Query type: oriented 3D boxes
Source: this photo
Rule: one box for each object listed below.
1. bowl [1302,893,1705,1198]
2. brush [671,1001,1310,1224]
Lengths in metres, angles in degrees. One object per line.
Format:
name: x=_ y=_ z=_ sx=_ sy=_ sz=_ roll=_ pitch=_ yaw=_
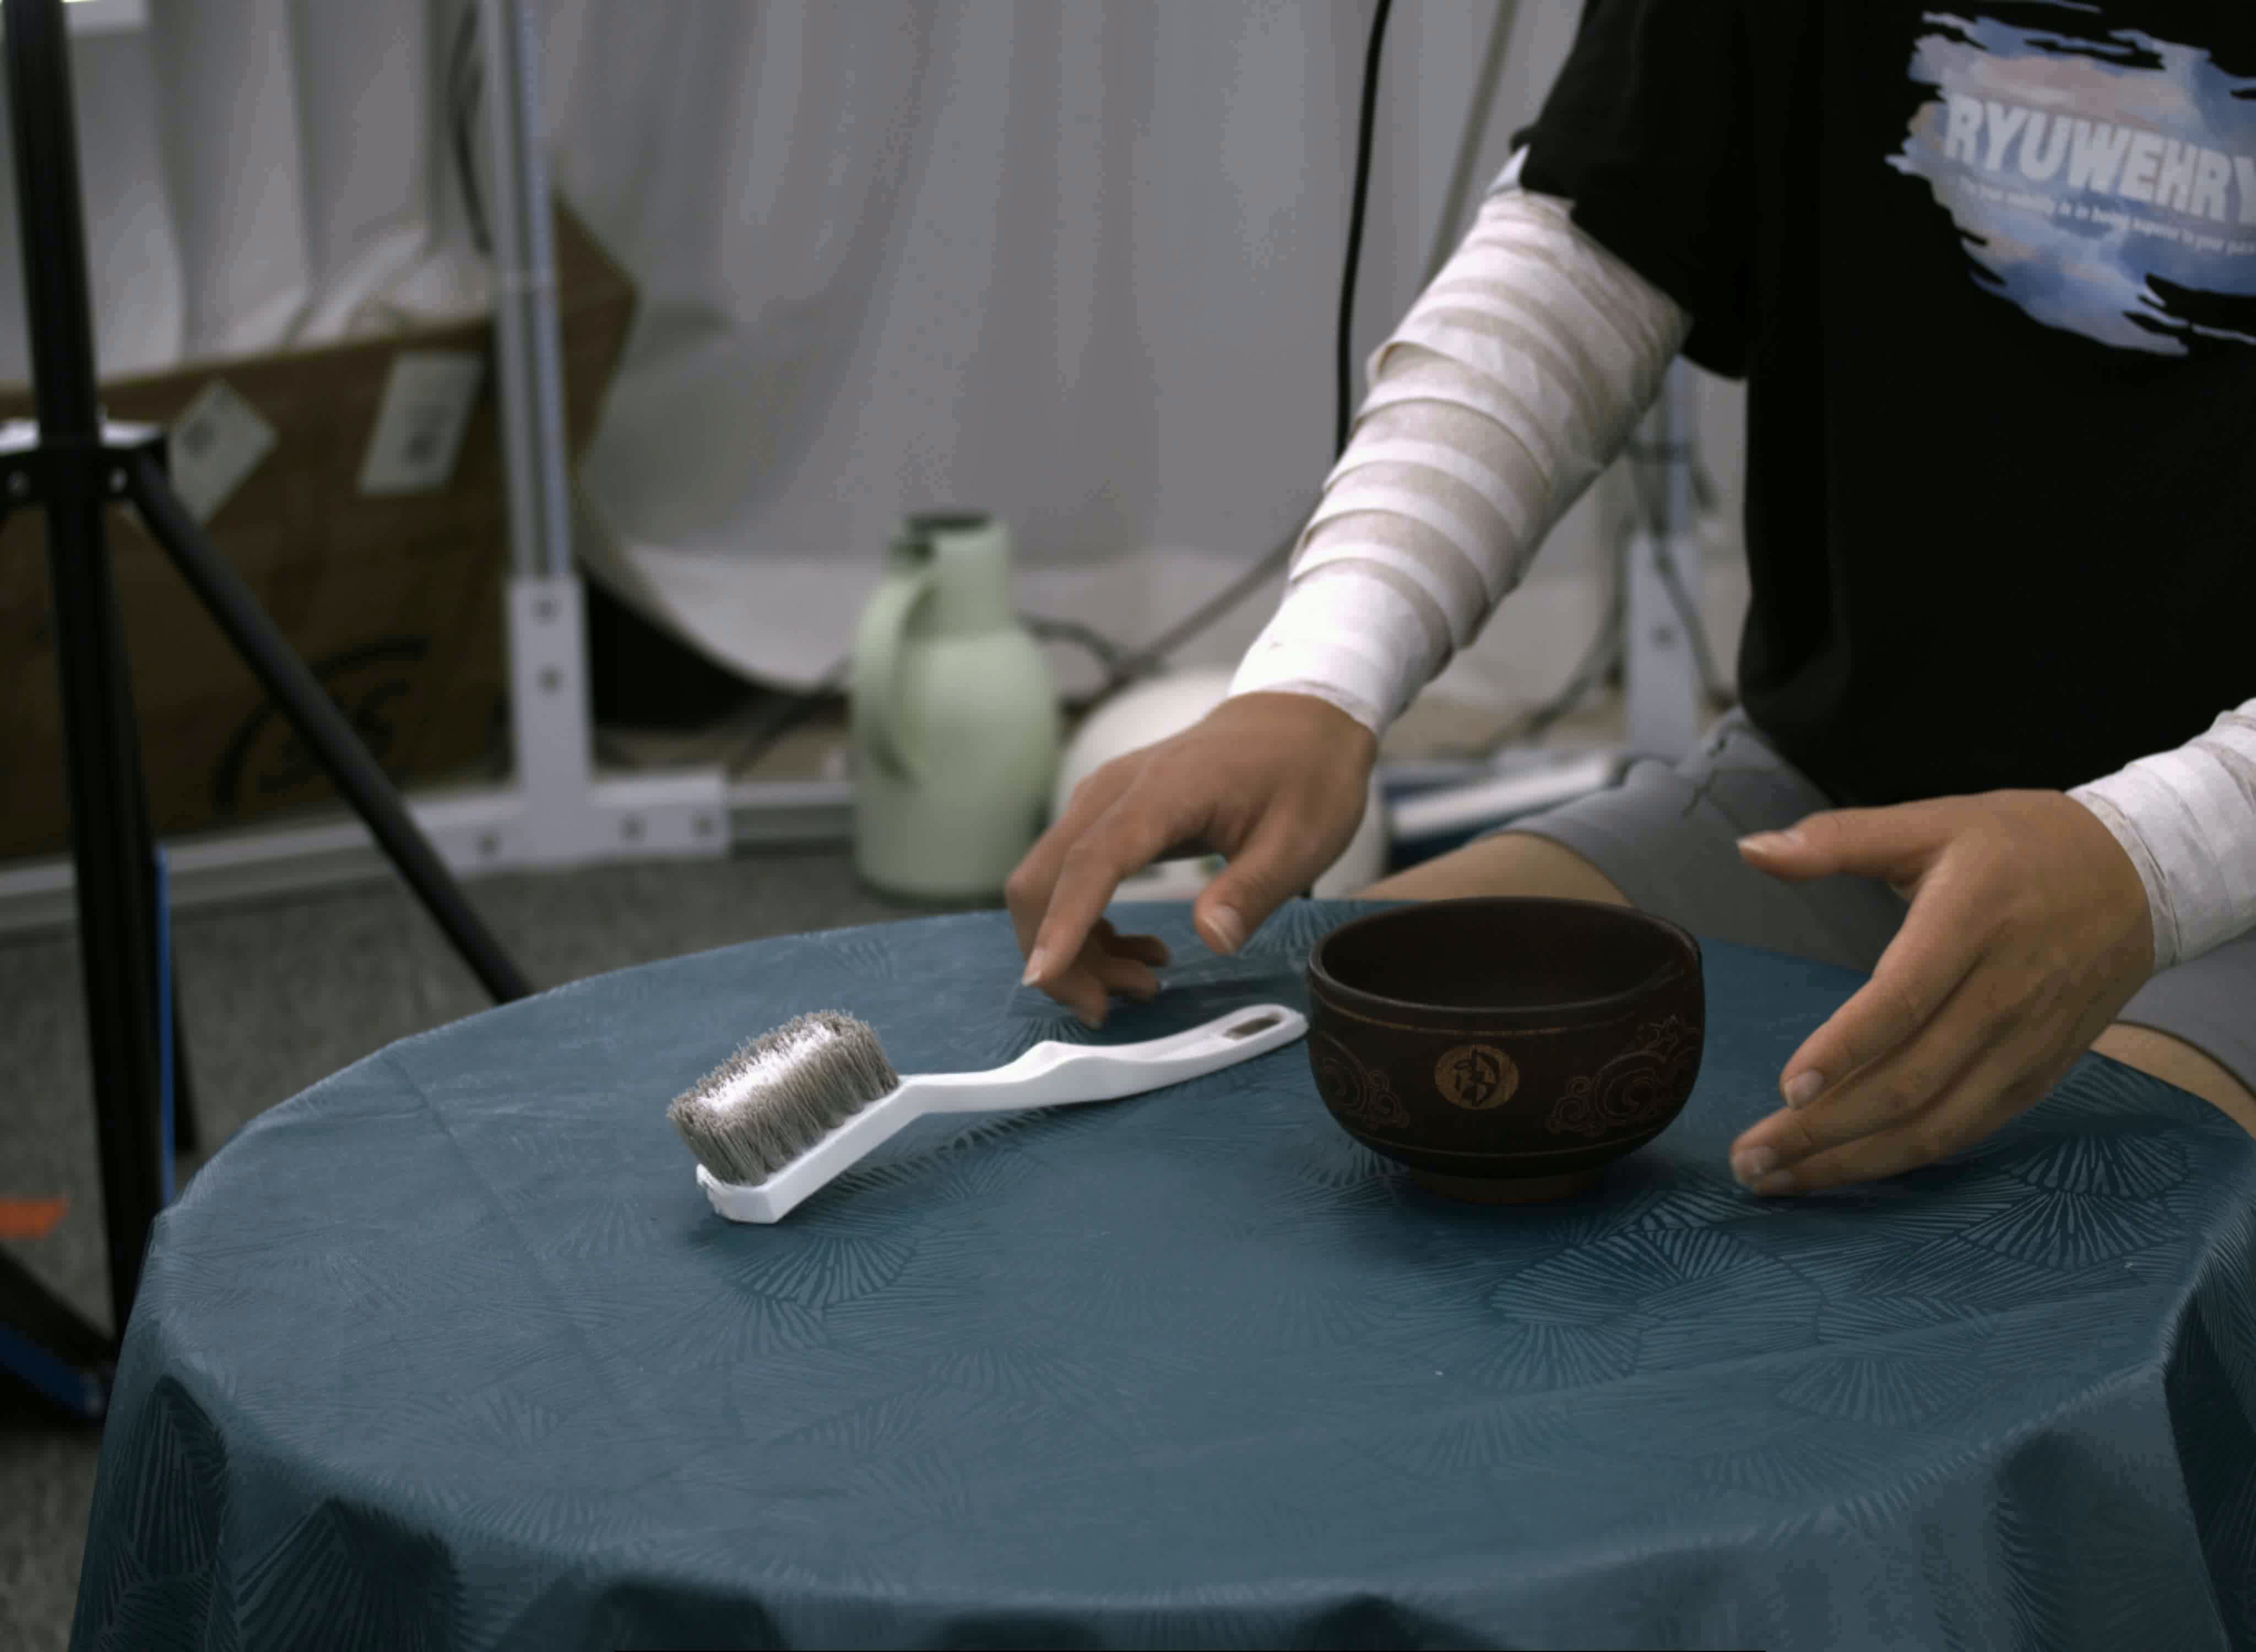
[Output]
bowl: x=0.110 y=0.068 z=1.551 sx=0.117 sy=0.070 sz=0.118 roll=-2 pitch=13 yaw=-1
brush: x=-0.036 y=0.067 z=1.615 sx=0.238 sy=0.050 sz=0.035 roll=-16 pitch=21 yaw=-38
